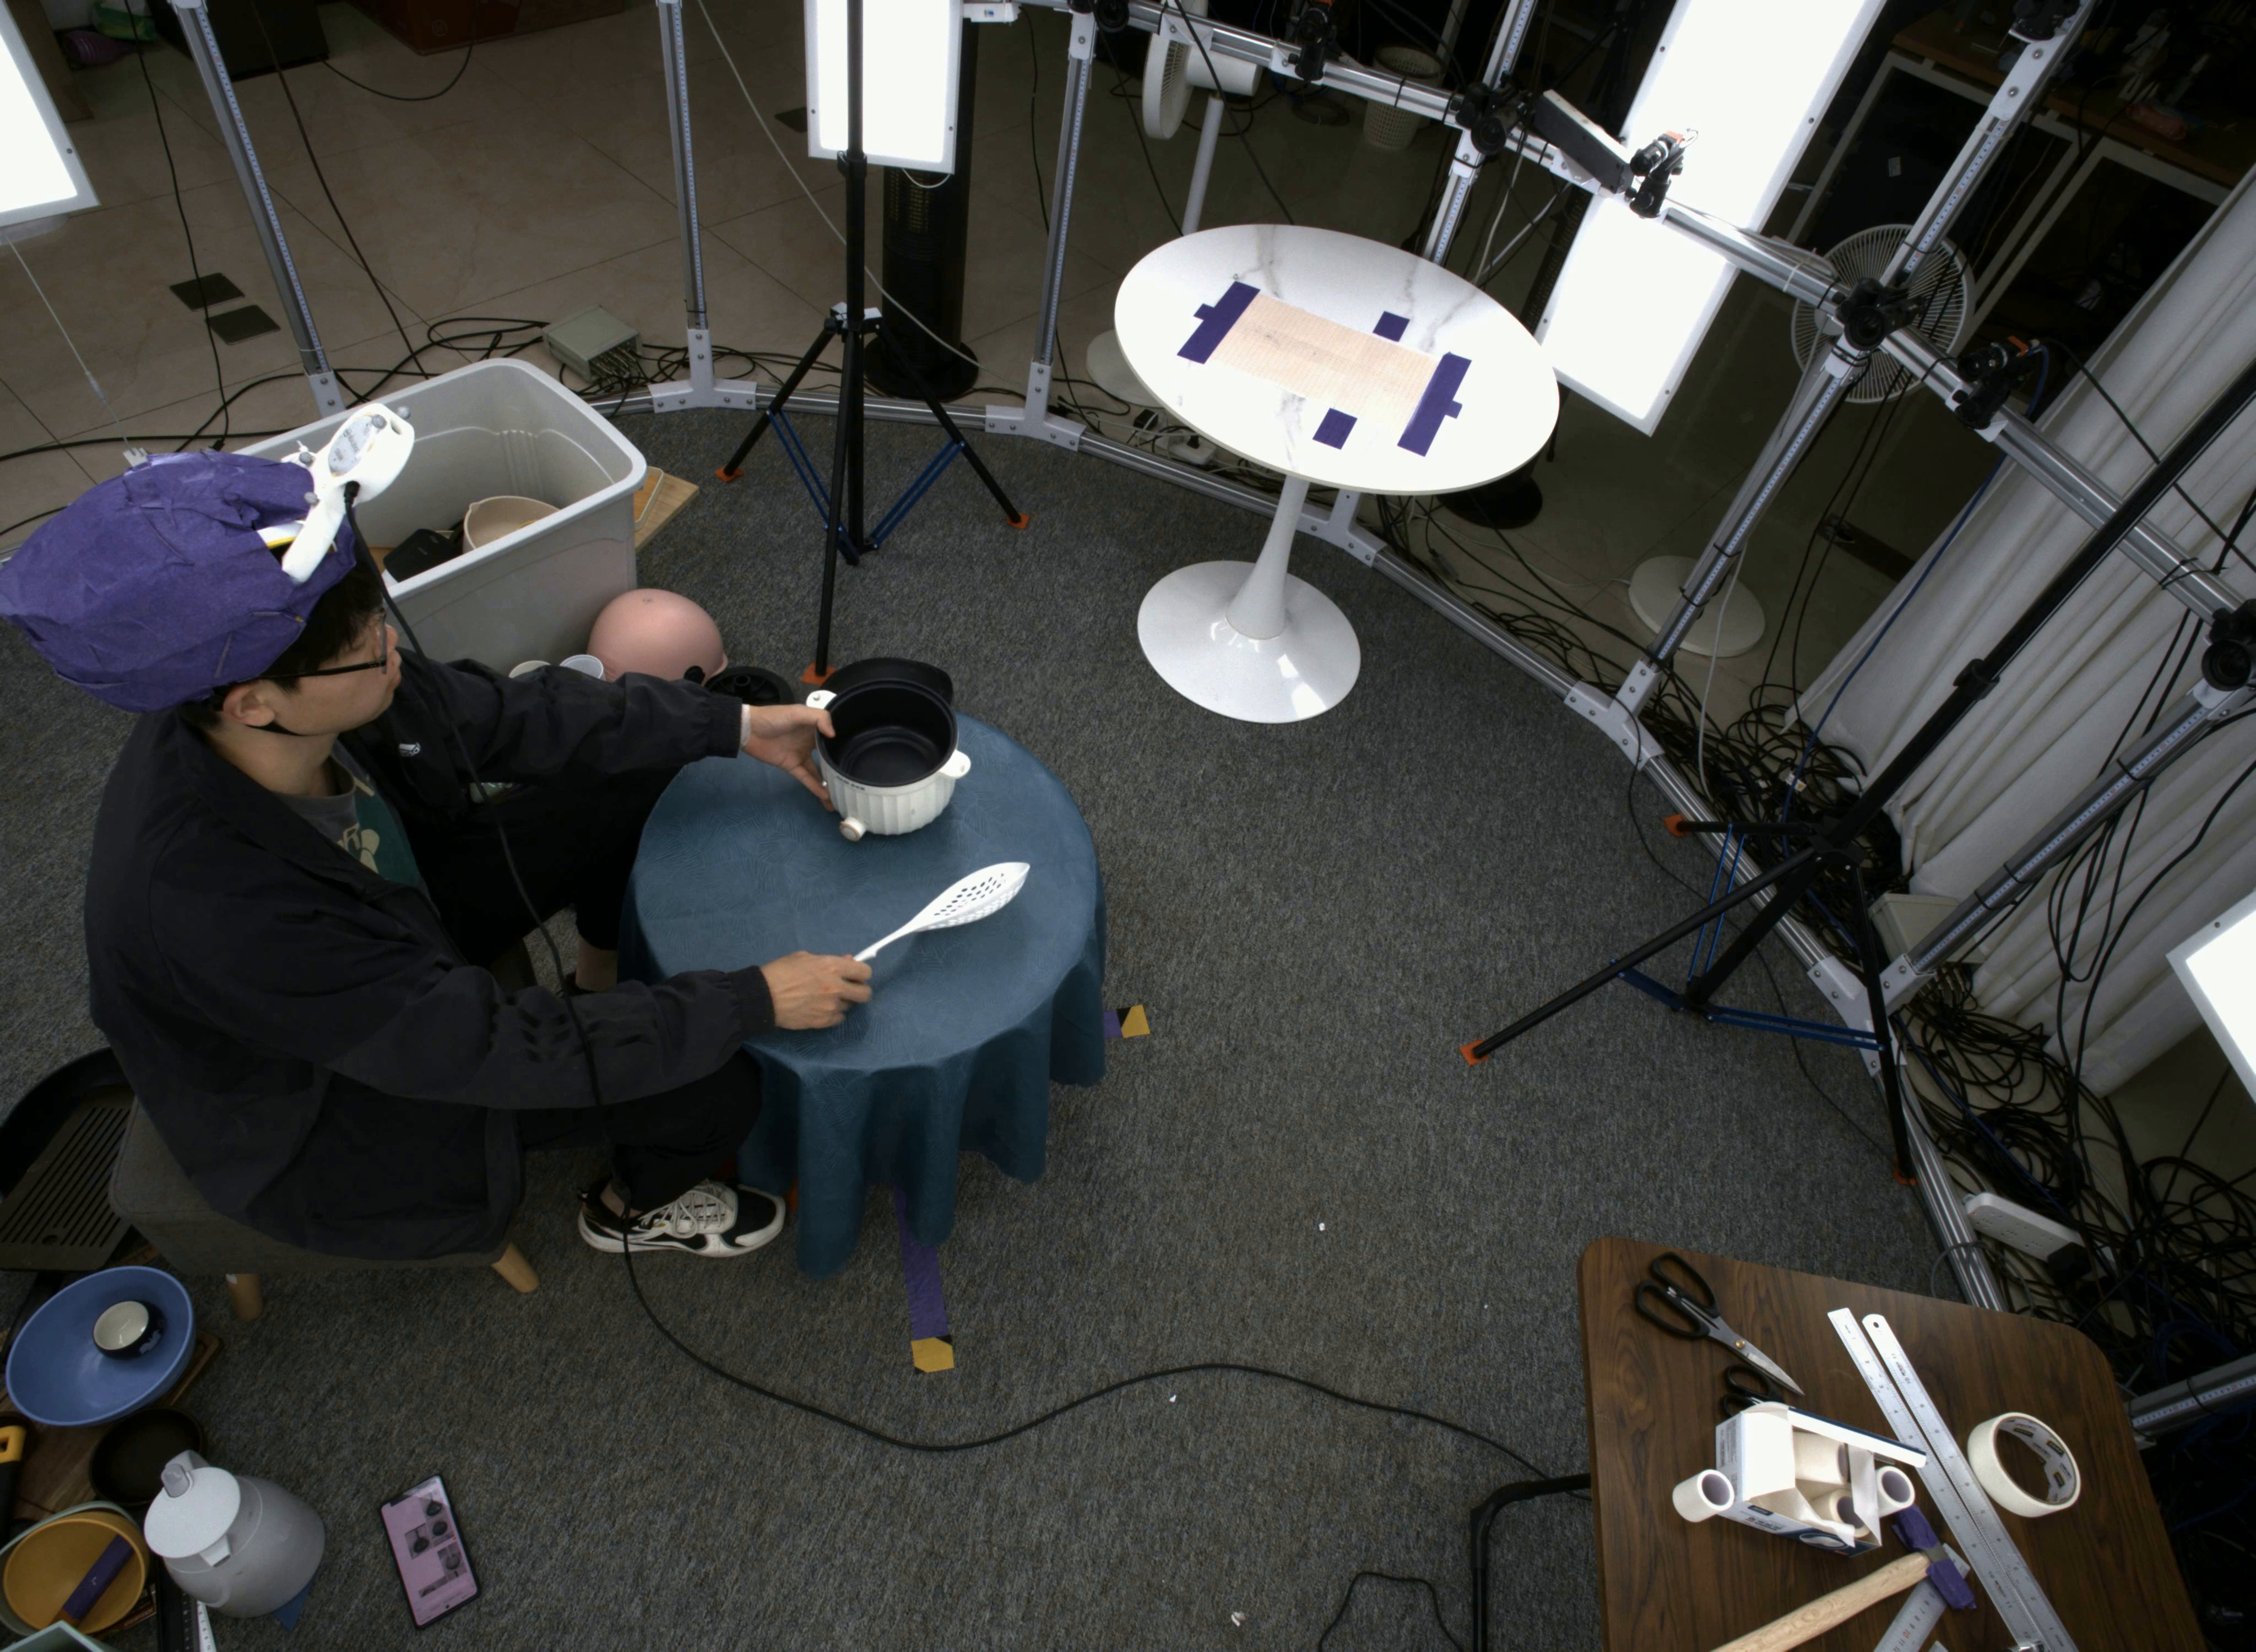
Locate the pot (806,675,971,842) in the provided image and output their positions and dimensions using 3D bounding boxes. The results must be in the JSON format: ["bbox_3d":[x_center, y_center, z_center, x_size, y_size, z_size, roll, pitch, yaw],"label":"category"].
[{"bbox_3d":[-0.317,-0.081,1.719,0.236,0.146,0.189,24,51,9],"label":"pot"}]

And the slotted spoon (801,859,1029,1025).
[{"bbox_3d":[-0.264,0.135,1.608,0.349,0.132,0.051,-29,107,-31],"label":"slotted spoon"}]
